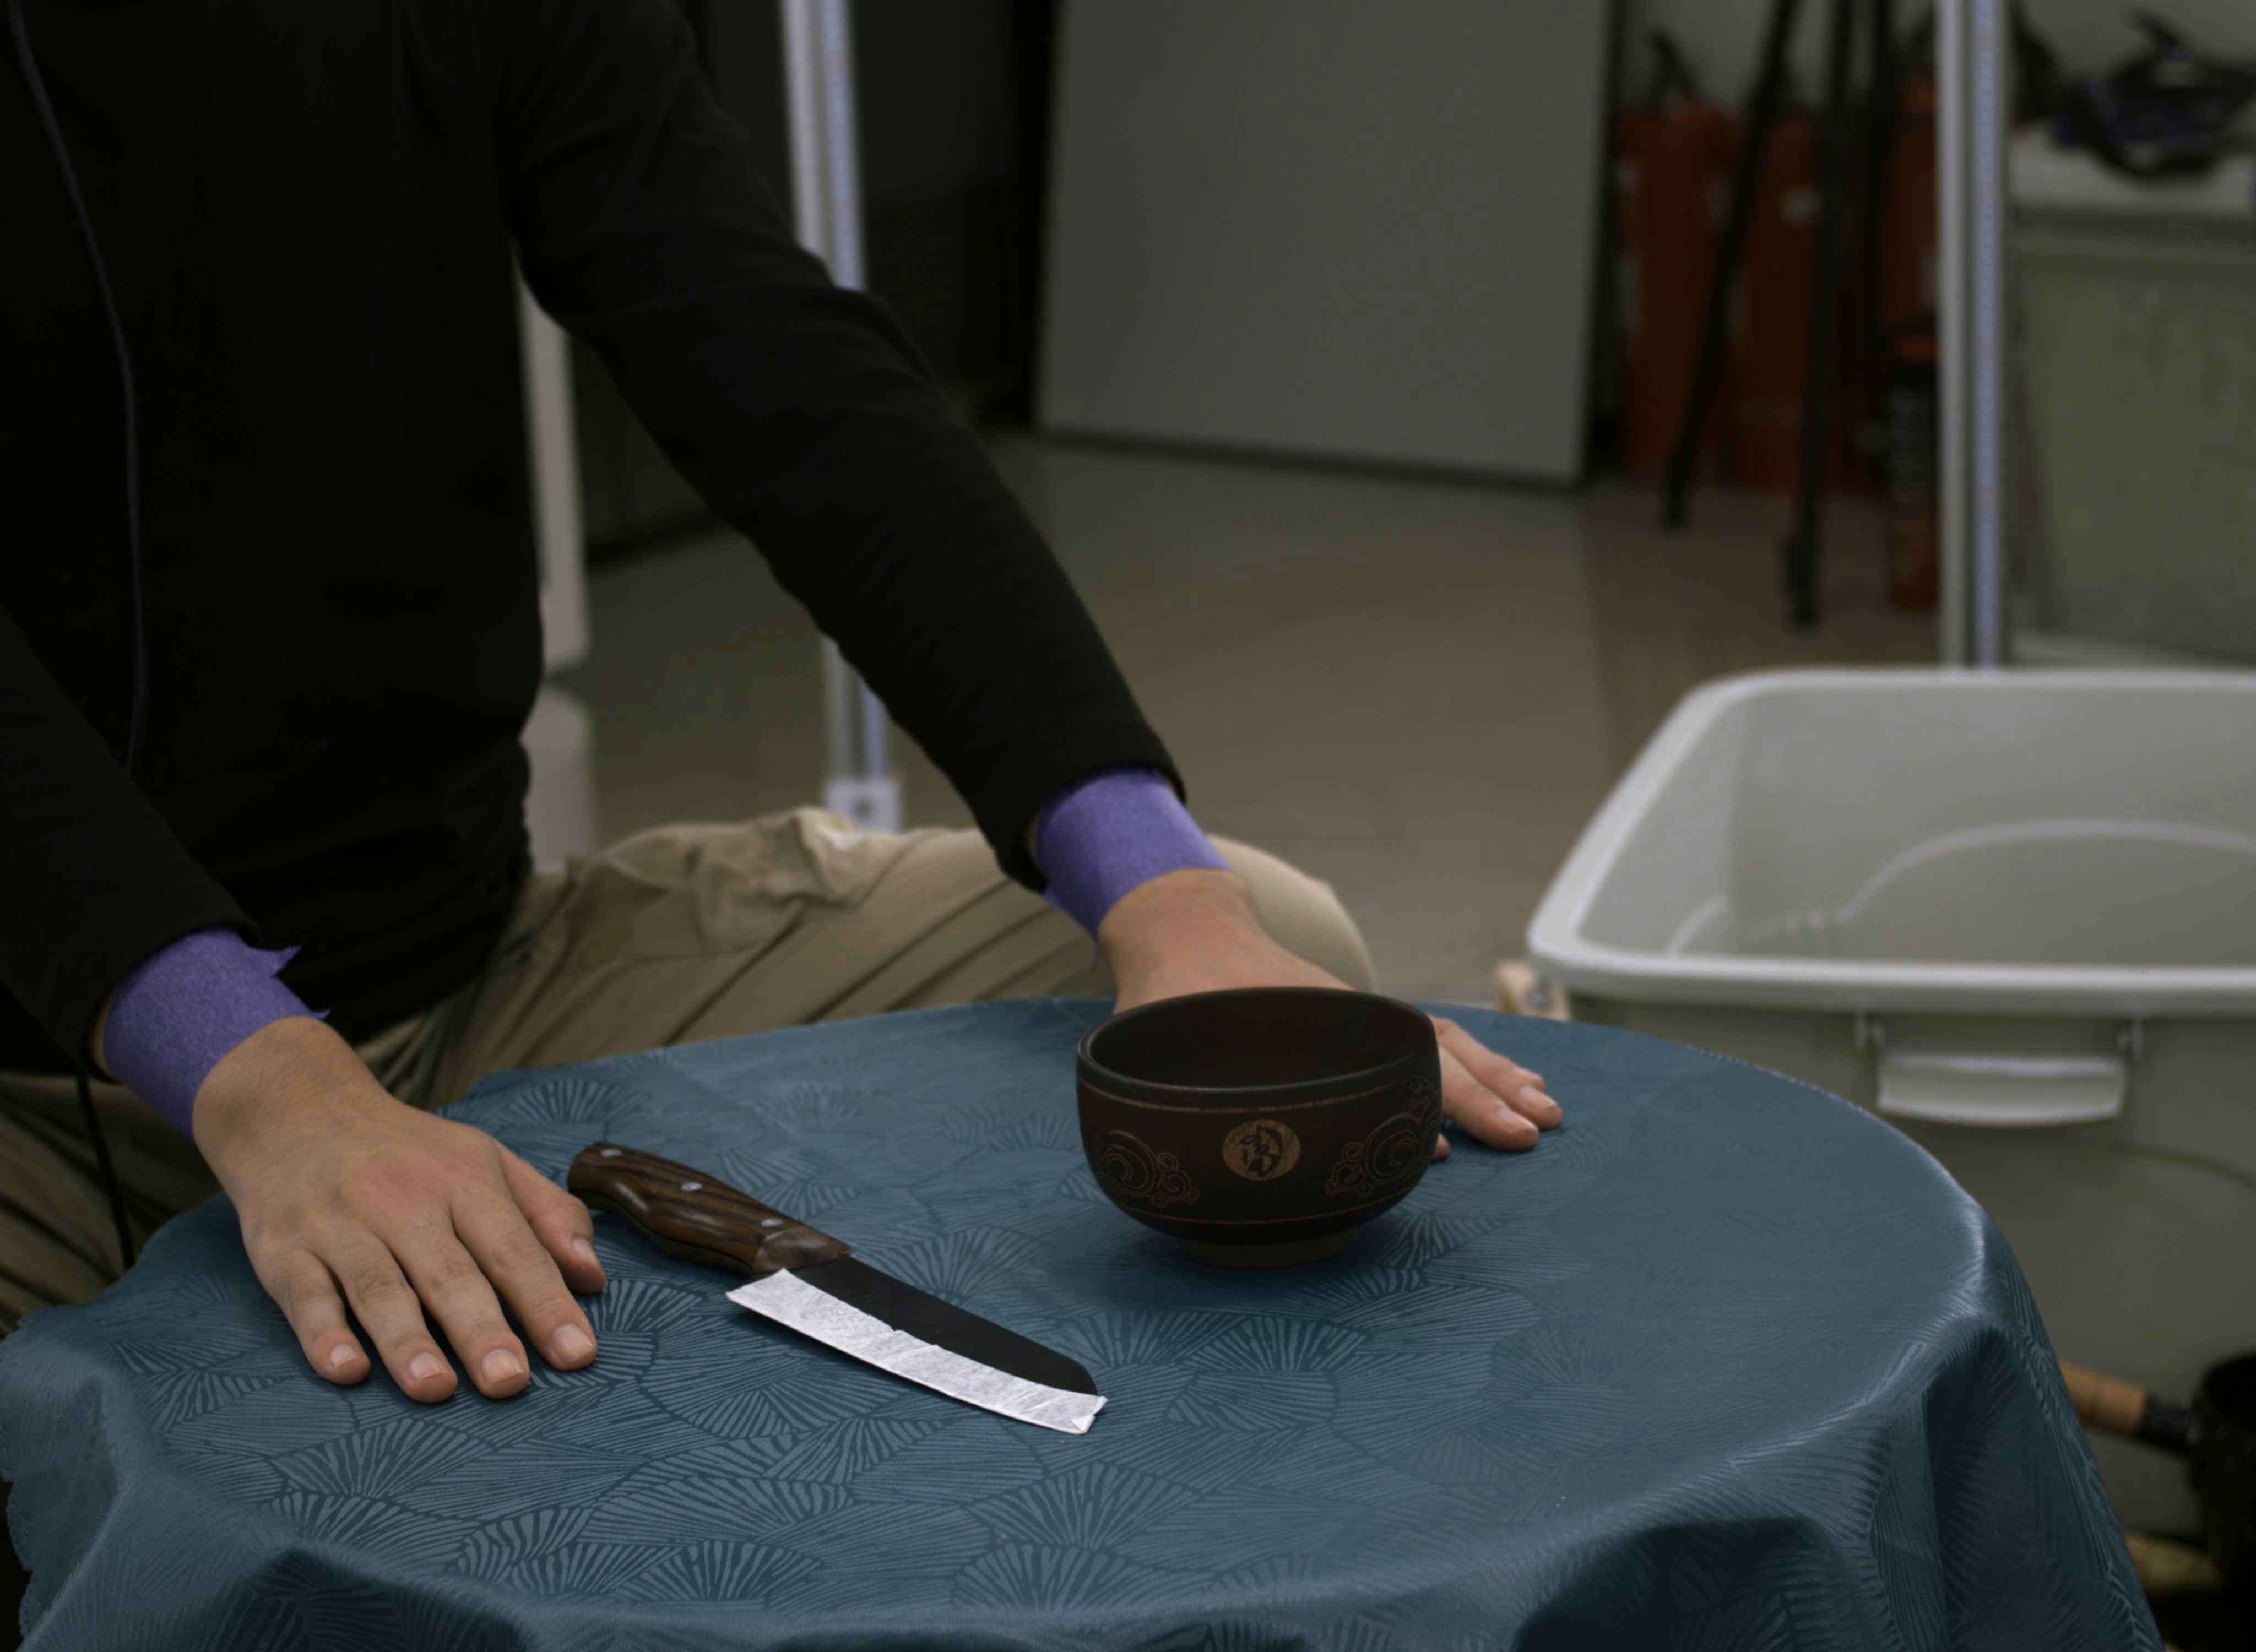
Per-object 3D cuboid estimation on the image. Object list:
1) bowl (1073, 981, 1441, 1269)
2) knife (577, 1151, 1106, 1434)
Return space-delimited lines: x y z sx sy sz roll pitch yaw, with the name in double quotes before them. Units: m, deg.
"bowl" 0.042 0.098 1.708 0.116 0.070 0.118 -6 13 0
"knife" -0.092 0.146 1.675 0.049 0.020 0.292 -19 22 -31
